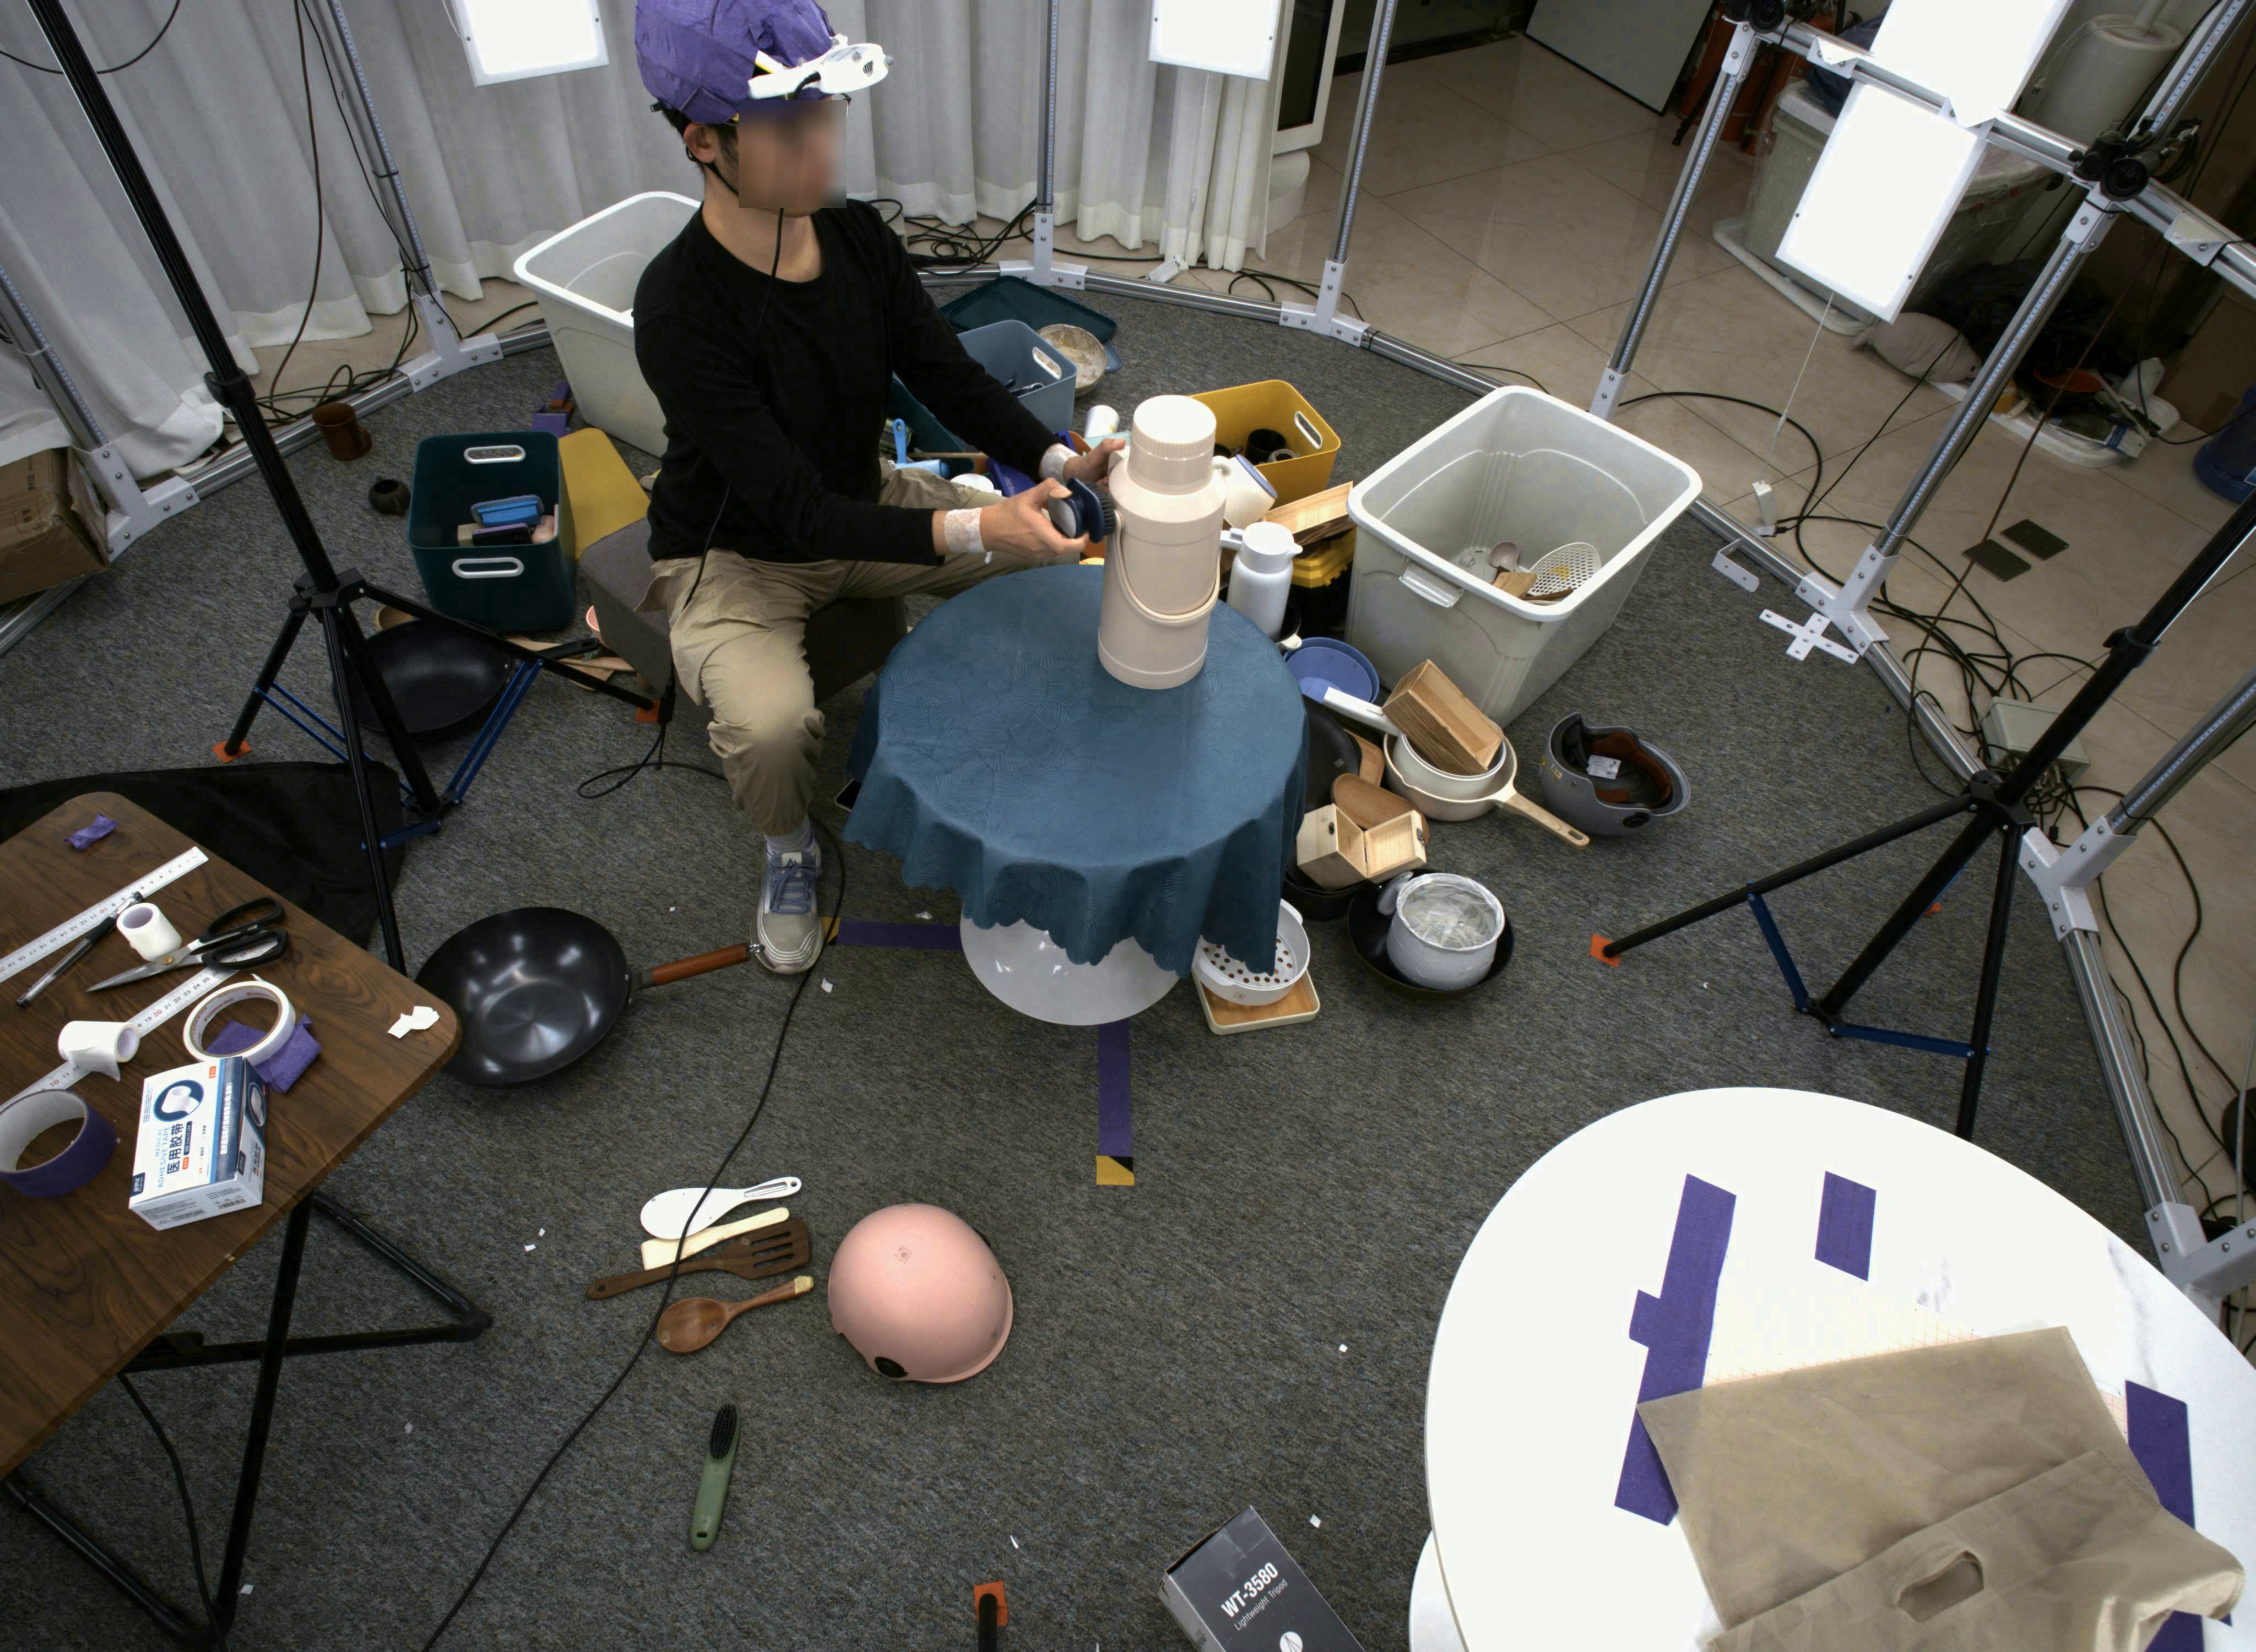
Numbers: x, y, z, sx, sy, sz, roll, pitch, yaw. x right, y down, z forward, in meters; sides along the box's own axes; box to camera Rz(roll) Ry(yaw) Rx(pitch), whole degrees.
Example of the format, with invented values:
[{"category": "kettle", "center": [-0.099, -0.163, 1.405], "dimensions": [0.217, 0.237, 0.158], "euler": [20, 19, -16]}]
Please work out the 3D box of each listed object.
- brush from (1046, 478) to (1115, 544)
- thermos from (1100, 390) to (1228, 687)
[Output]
[{"category": "brush", "center": [-0.060, -0.411, 1.684], "dimensions": [0.061, 0.066, 0.124], "euler": [-14, 39, -19]}, {"category": "thermos", "center": [0.041, -0.394, 1.758], "dimensions": [0.176, 0.396, 0.211], "euler": [-28, 57, -23]}]
